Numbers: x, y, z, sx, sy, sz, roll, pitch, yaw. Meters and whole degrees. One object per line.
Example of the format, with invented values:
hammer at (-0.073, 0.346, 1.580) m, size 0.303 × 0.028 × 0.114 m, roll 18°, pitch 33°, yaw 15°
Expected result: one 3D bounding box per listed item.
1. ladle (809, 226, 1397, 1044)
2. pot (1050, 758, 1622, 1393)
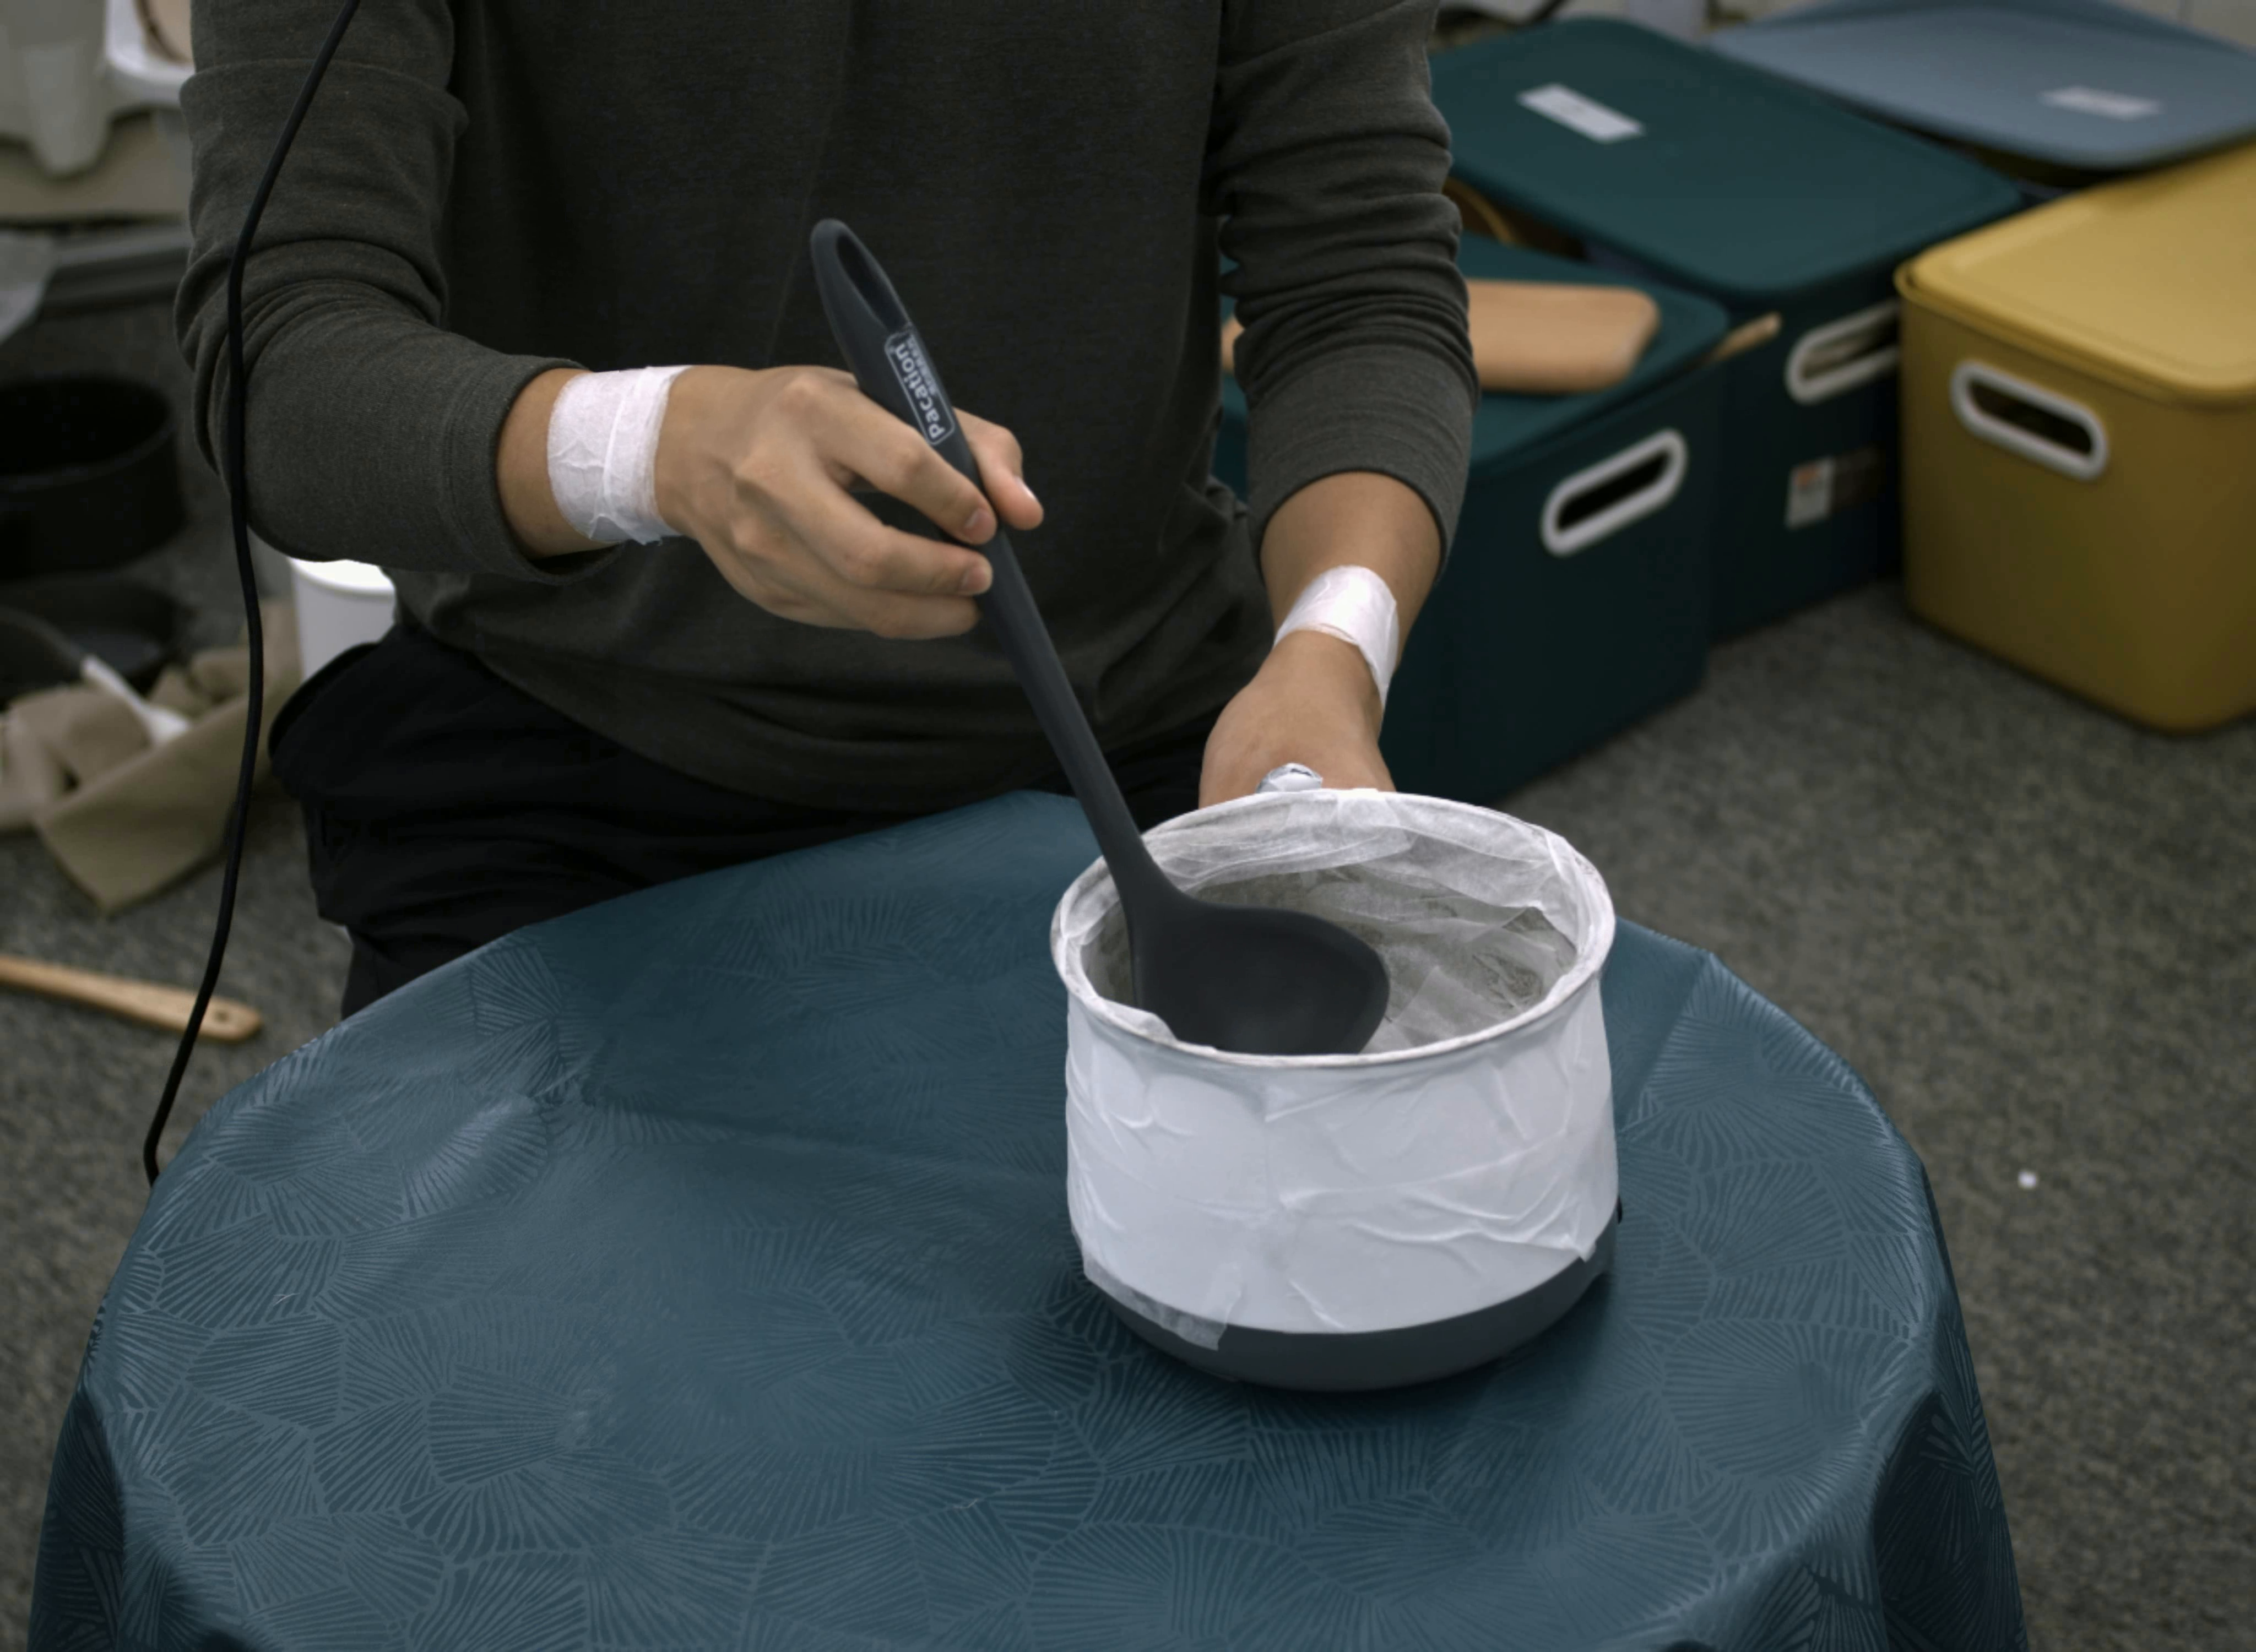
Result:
ladle at (-0.012, -0.049, 1.743) m, size 0.063 × 0.312 × 0.087 m, roll -8°, pitch 25°, yaw 44°
pot at (0.064, 0.072, 1.803) m, size 0.178 × 0.135 × 0.237 m, roll -5°, pitch 27°, yaw -5°
